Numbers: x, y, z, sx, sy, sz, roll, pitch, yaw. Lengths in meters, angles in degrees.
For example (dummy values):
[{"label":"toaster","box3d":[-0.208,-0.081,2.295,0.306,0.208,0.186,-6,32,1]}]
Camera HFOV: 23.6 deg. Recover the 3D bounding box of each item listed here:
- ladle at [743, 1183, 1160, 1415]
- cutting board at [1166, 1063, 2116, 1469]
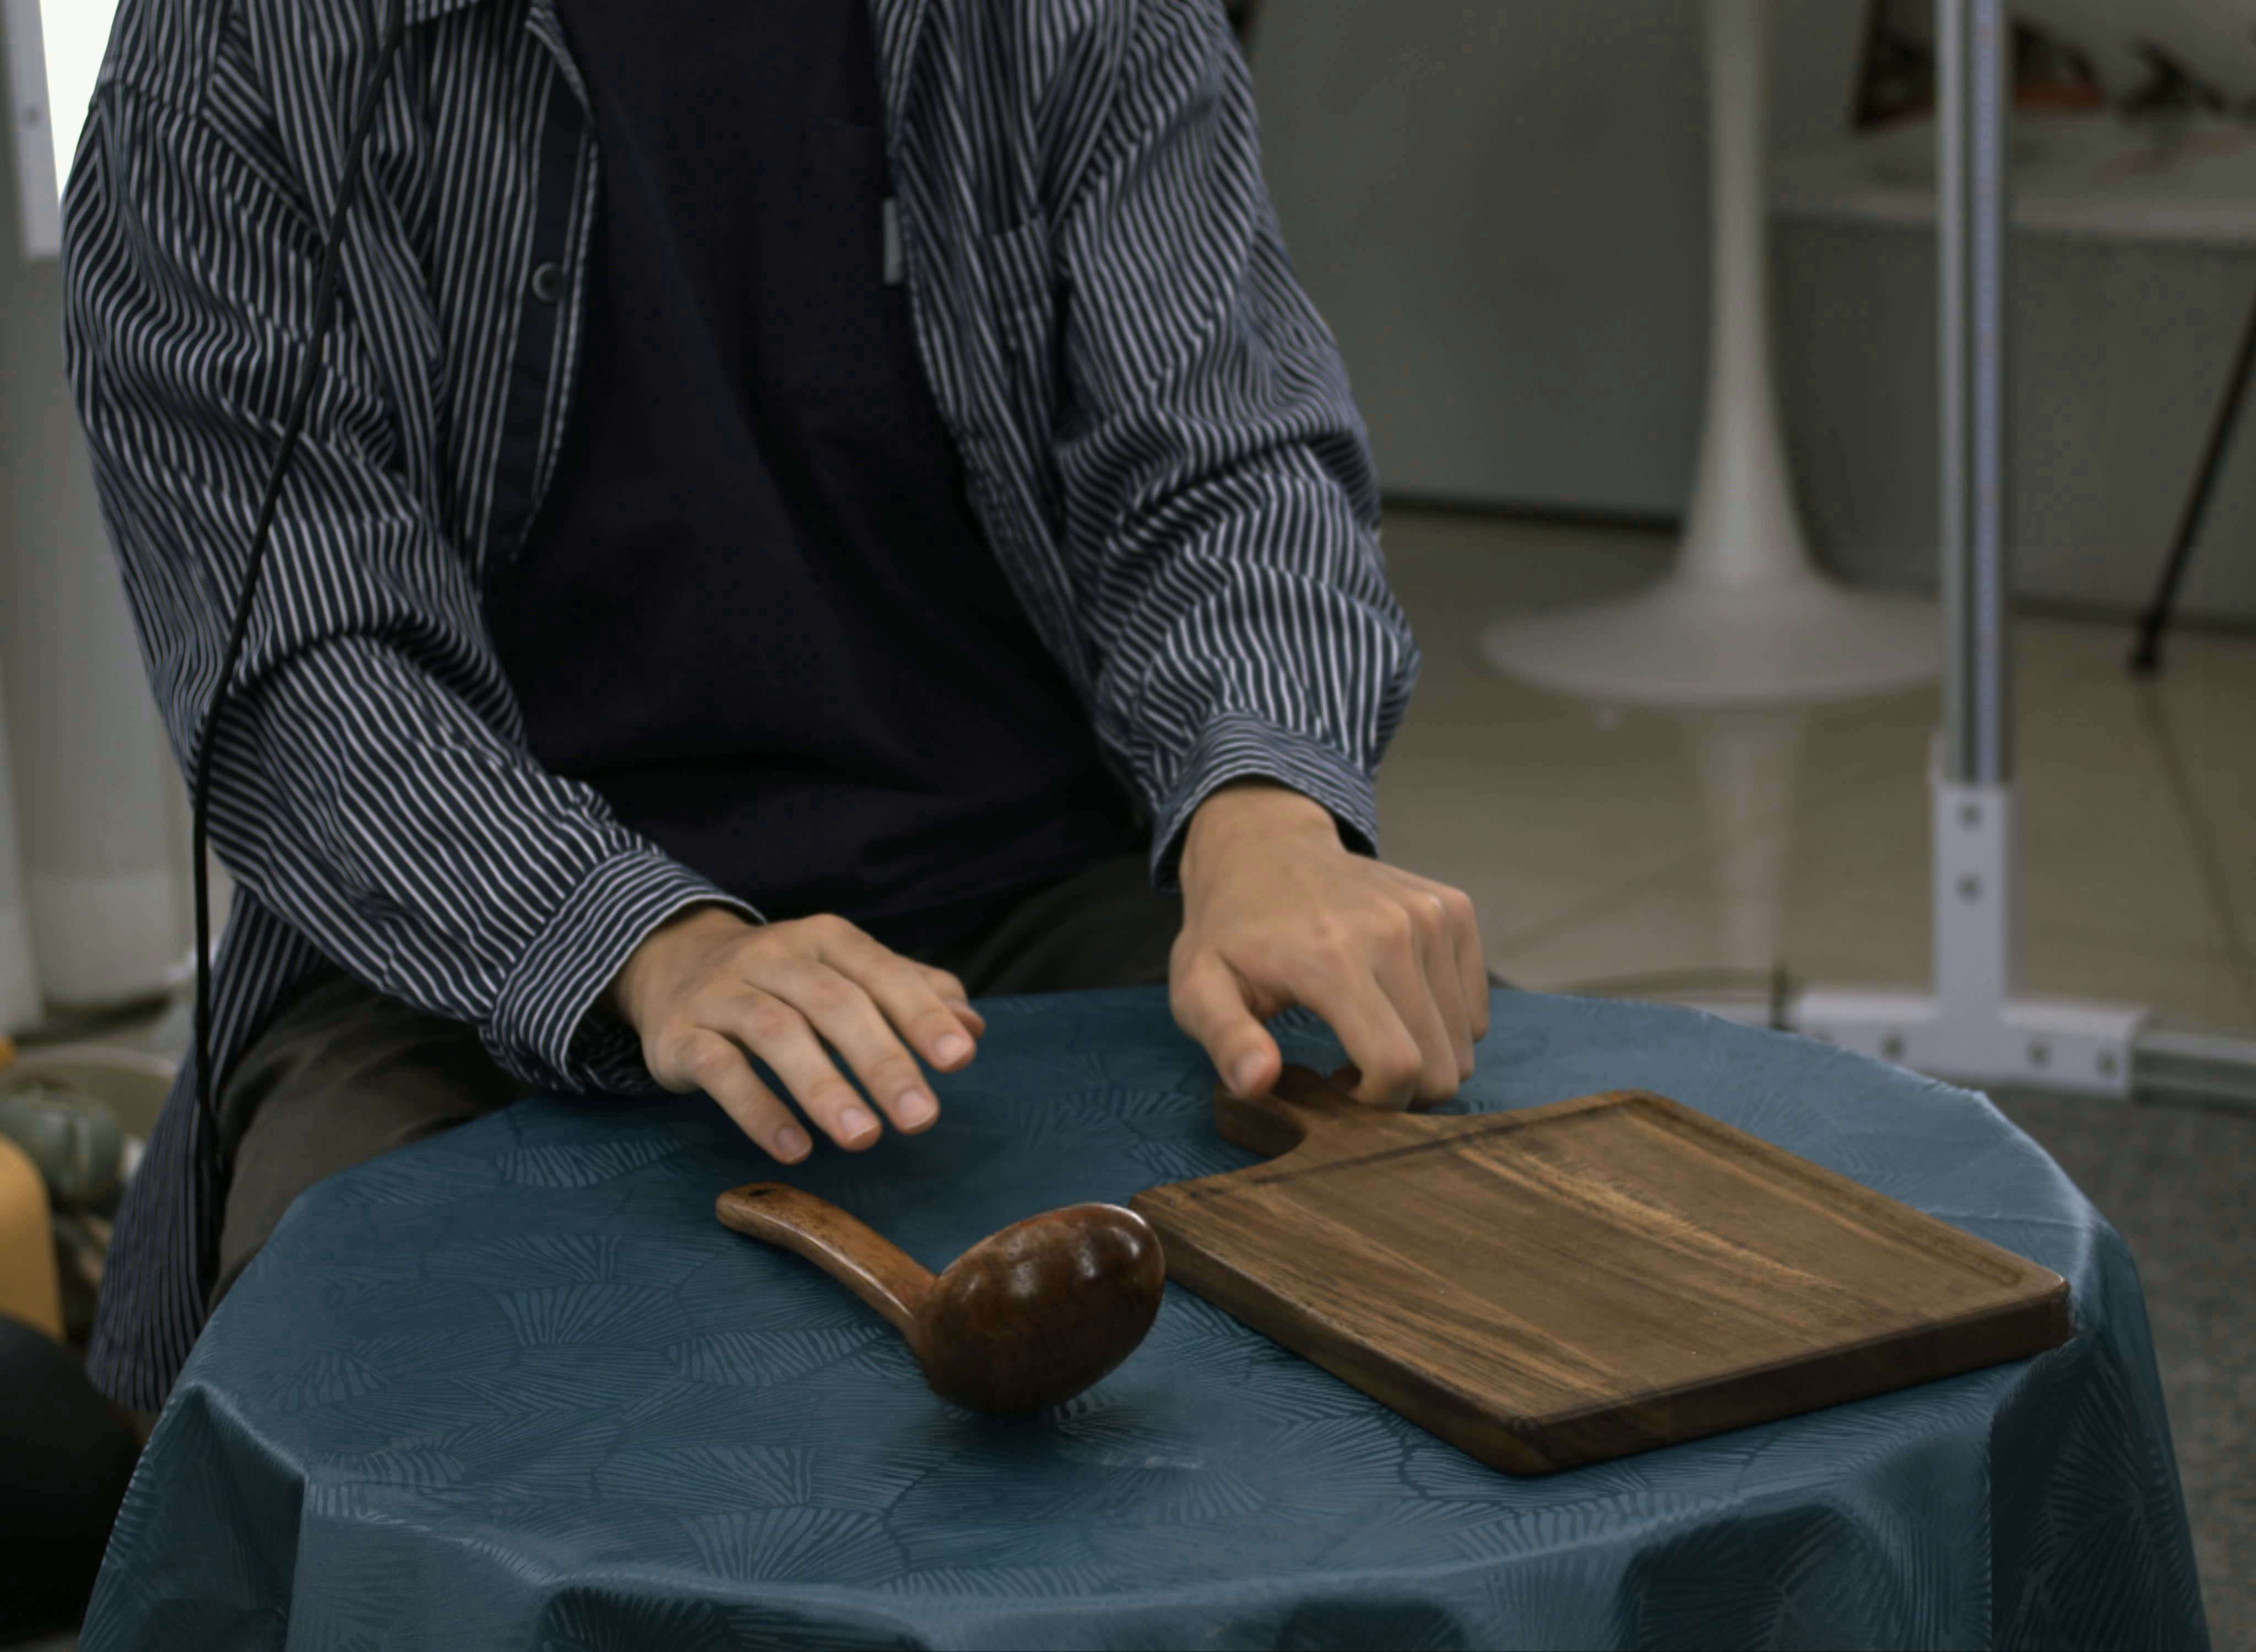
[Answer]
[{"label":"ladle","box3d":[-0.070,0.118,1.638,0.080,0.077,0.277,-9,14,-21]},{"label":"cutting board","box3d":[0.130,0.123,1.681,0.197,0.023,0.356,-10,15,-23]}]
